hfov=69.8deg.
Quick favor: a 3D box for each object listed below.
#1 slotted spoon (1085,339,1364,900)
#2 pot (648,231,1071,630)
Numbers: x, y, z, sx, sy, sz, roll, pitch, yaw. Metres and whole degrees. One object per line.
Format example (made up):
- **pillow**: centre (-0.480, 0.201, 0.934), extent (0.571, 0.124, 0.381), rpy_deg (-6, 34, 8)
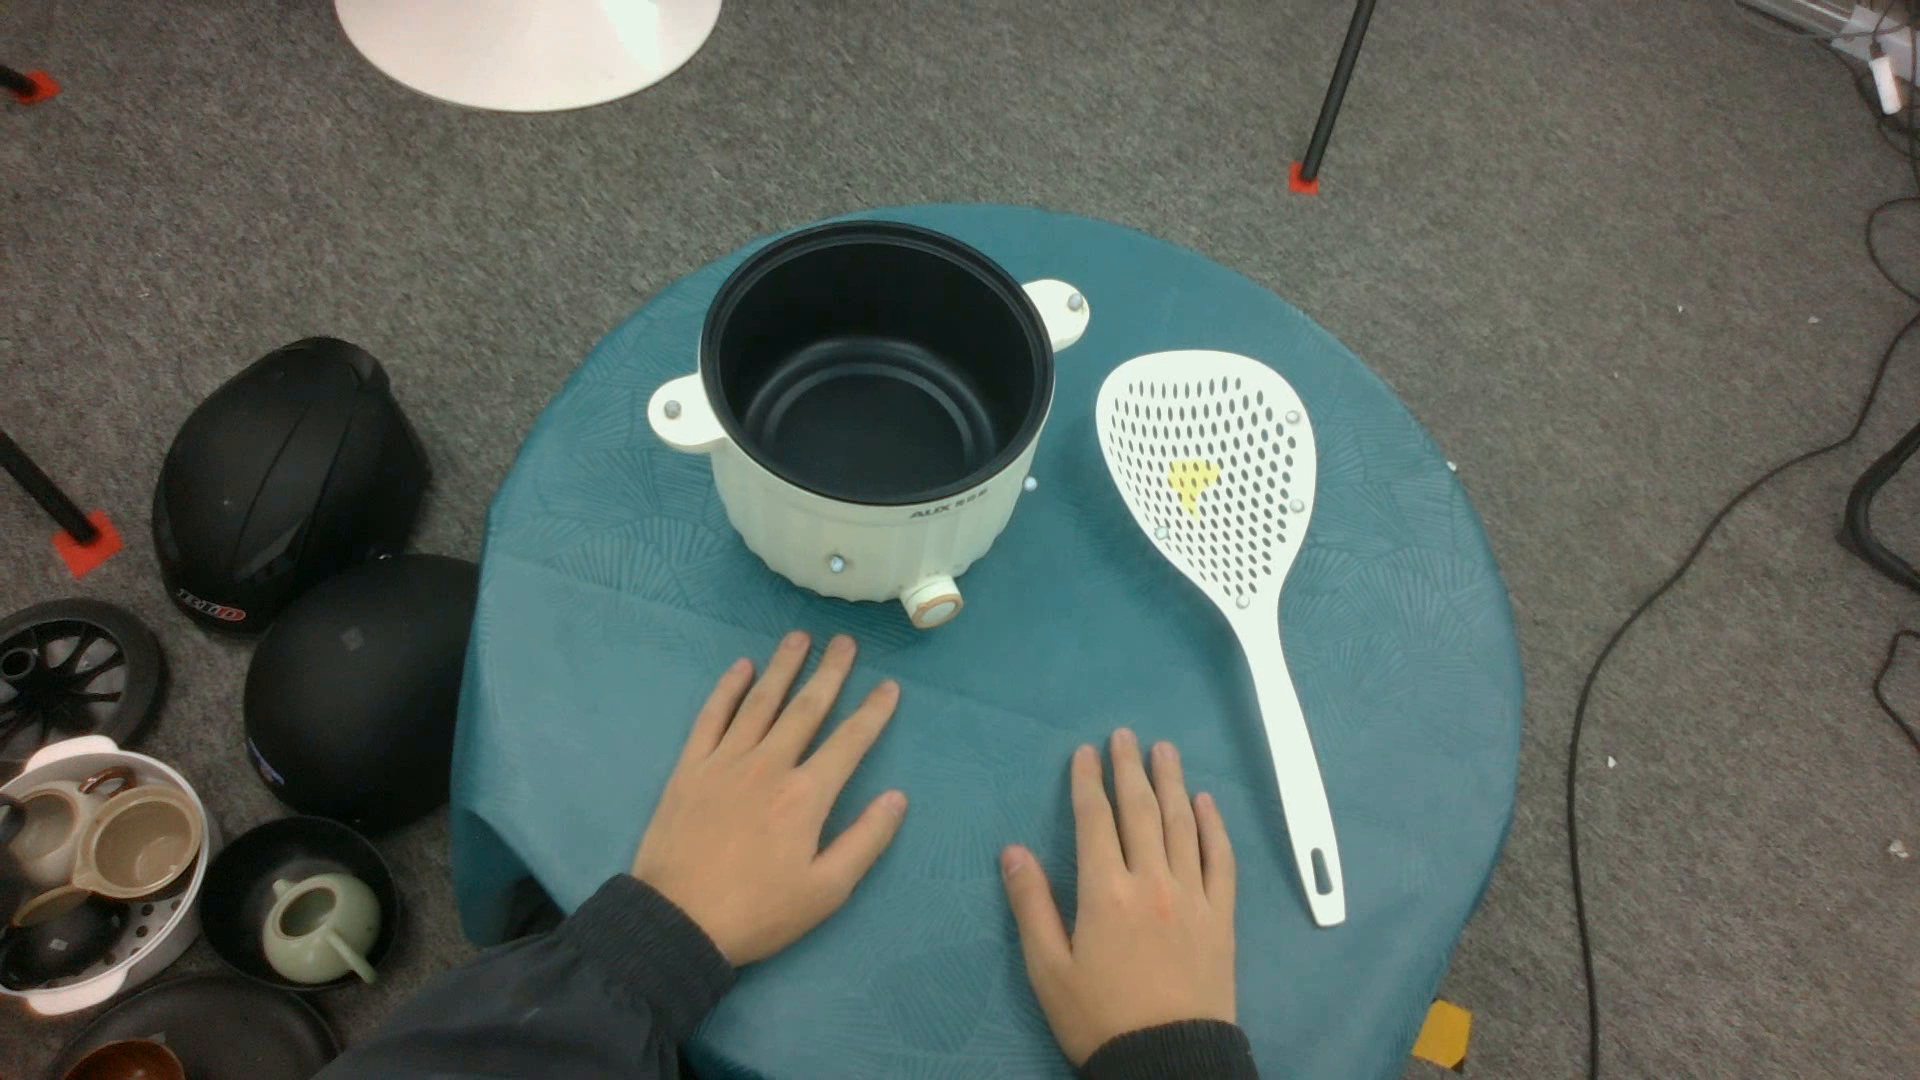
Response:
- **slotted spoon**: centre (0.165, 0.032, 0.793), extent (0.137, 0.050, 0.349), rpy_deg (-7, 59, -13)
- **pot**: centre (-0.048, -0.054, 0.768), extent (0.241, 0.142, 0.191), rpy_deg (-23, 61, -17)
